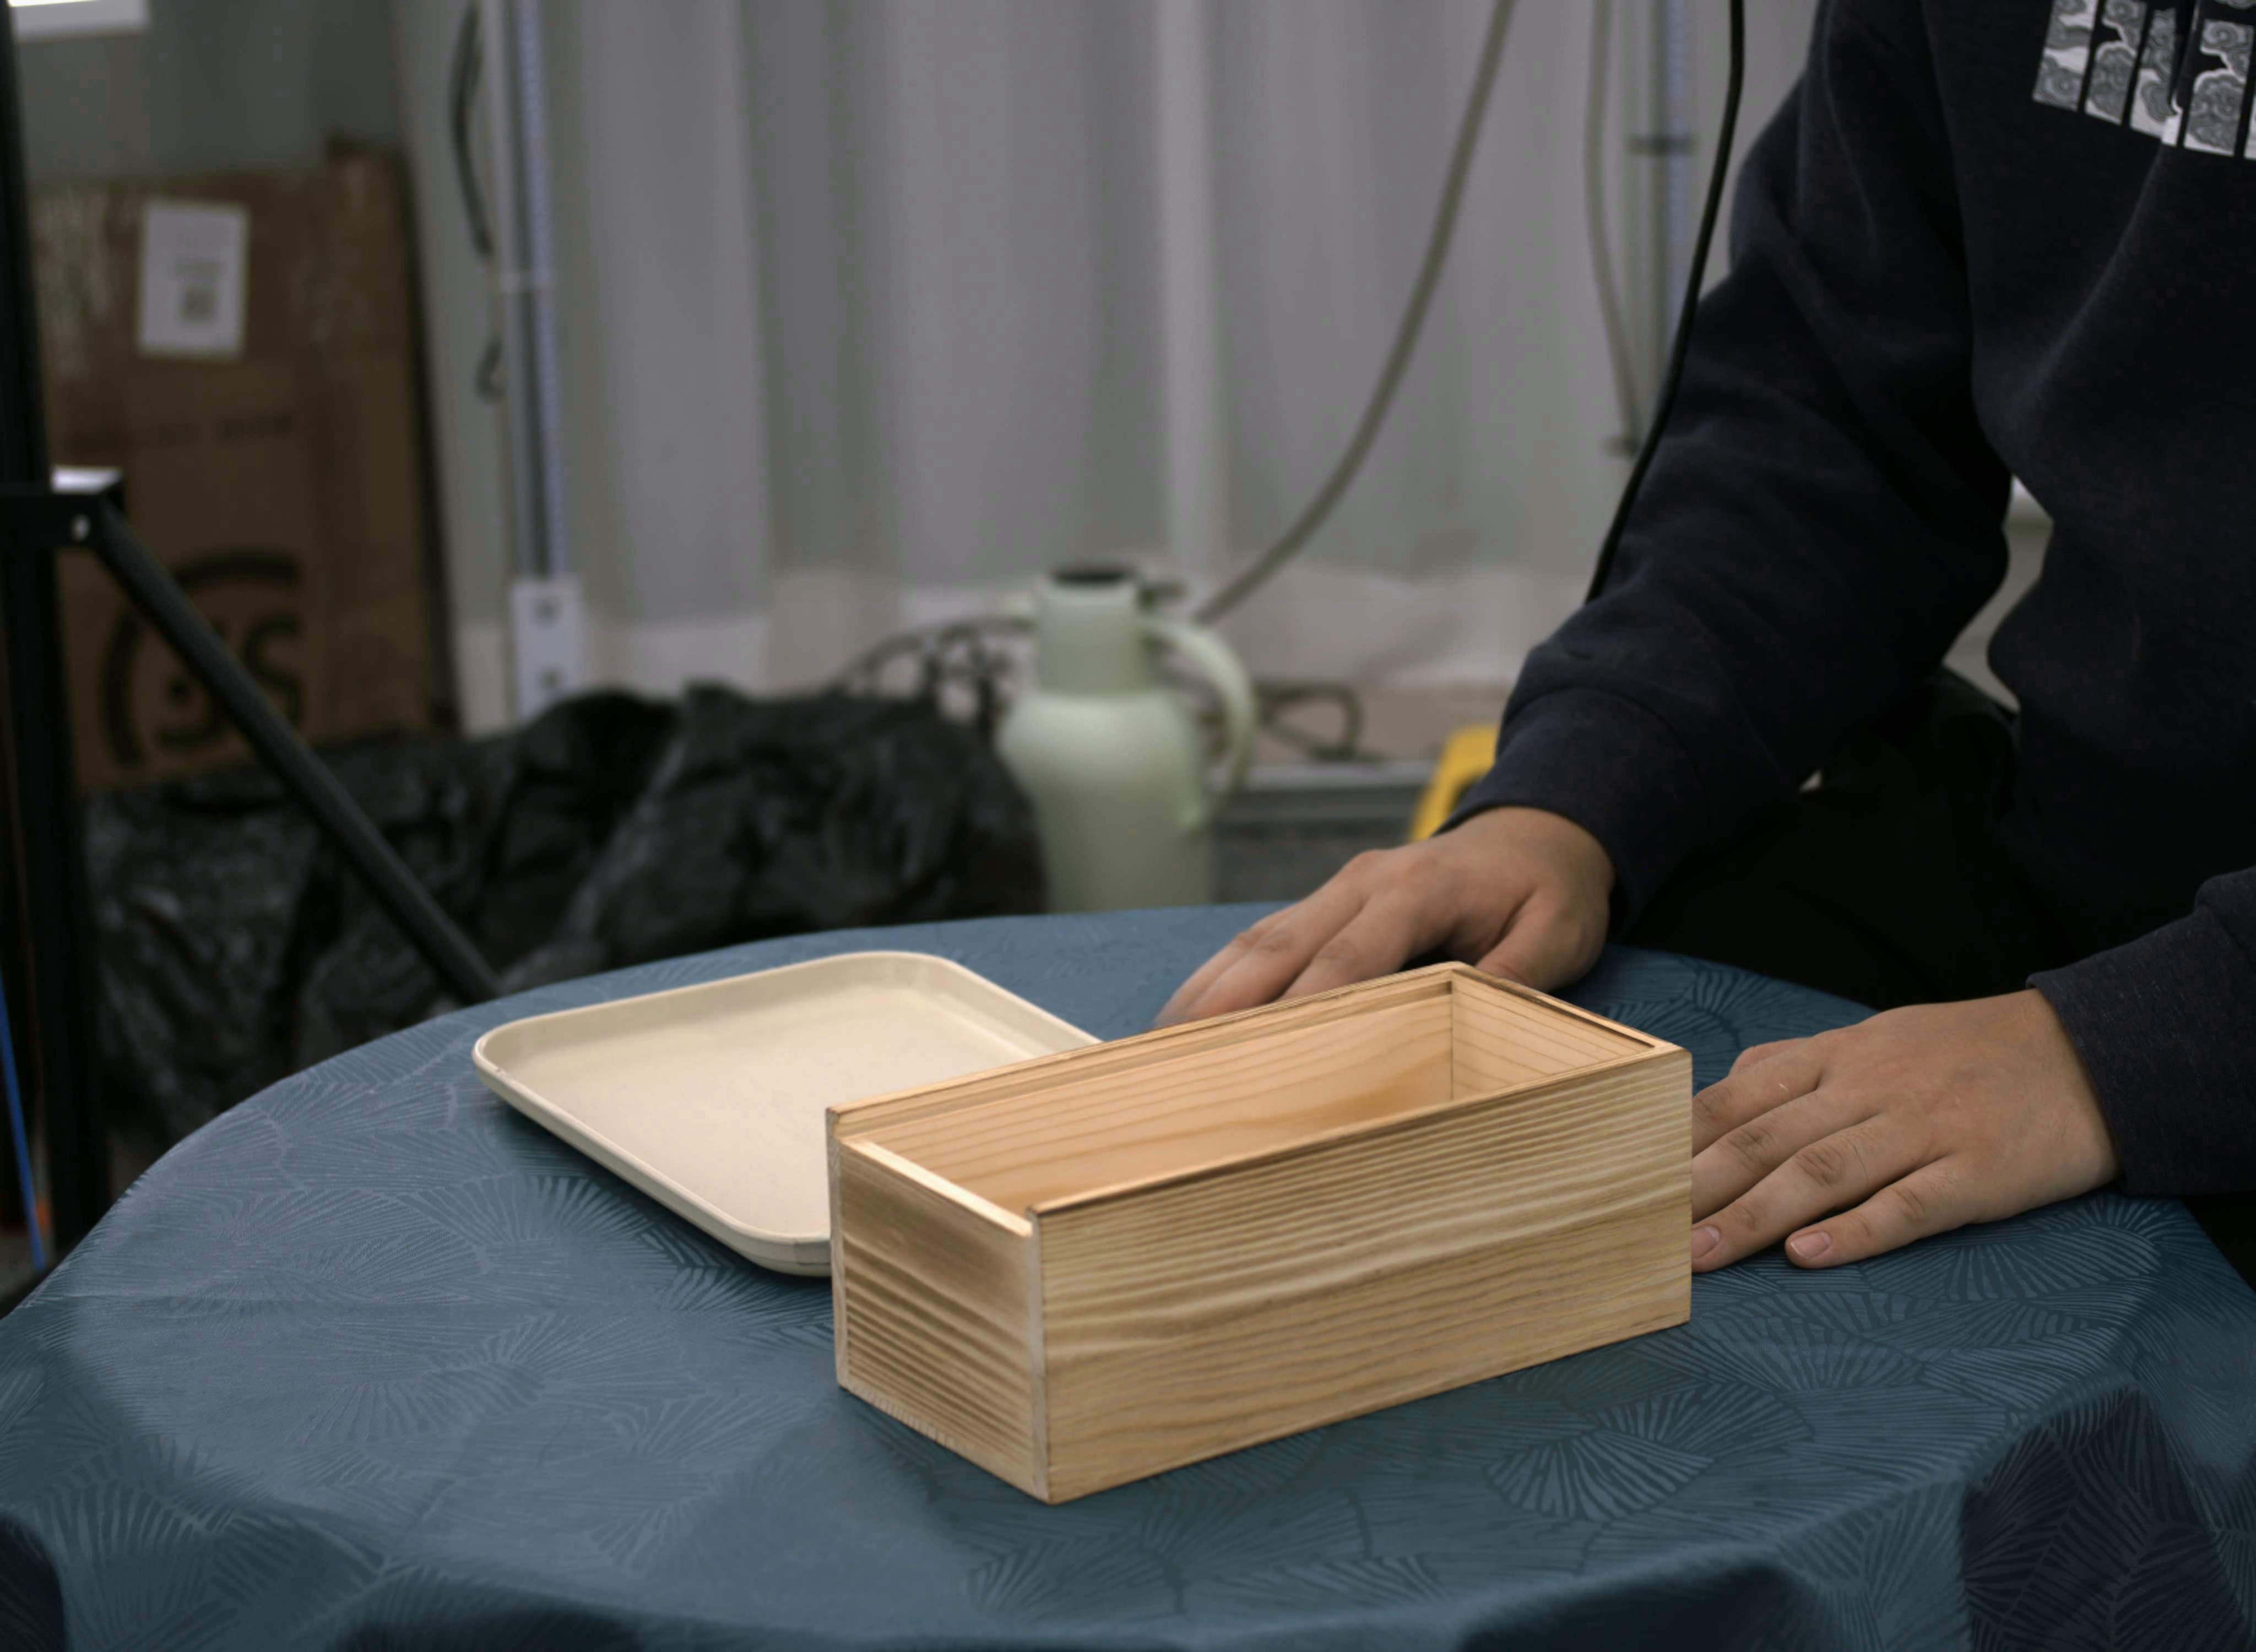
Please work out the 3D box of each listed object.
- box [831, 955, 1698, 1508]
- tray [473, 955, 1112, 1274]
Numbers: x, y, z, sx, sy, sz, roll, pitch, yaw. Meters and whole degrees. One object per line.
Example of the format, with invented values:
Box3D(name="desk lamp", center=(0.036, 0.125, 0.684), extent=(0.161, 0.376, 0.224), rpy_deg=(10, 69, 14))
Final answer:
Box3D(name="box", center=(0.038, 0.104, 1.418), extent=(0.206, 0.080, 0.110), rpy_deg=(-12, 19, -31))
Box3D(name="tray", center=(-0.082, 0.086, 1.614), extent=(0.167, 0.017, 0.245), rpy_deg=(-10, 18, -28))
